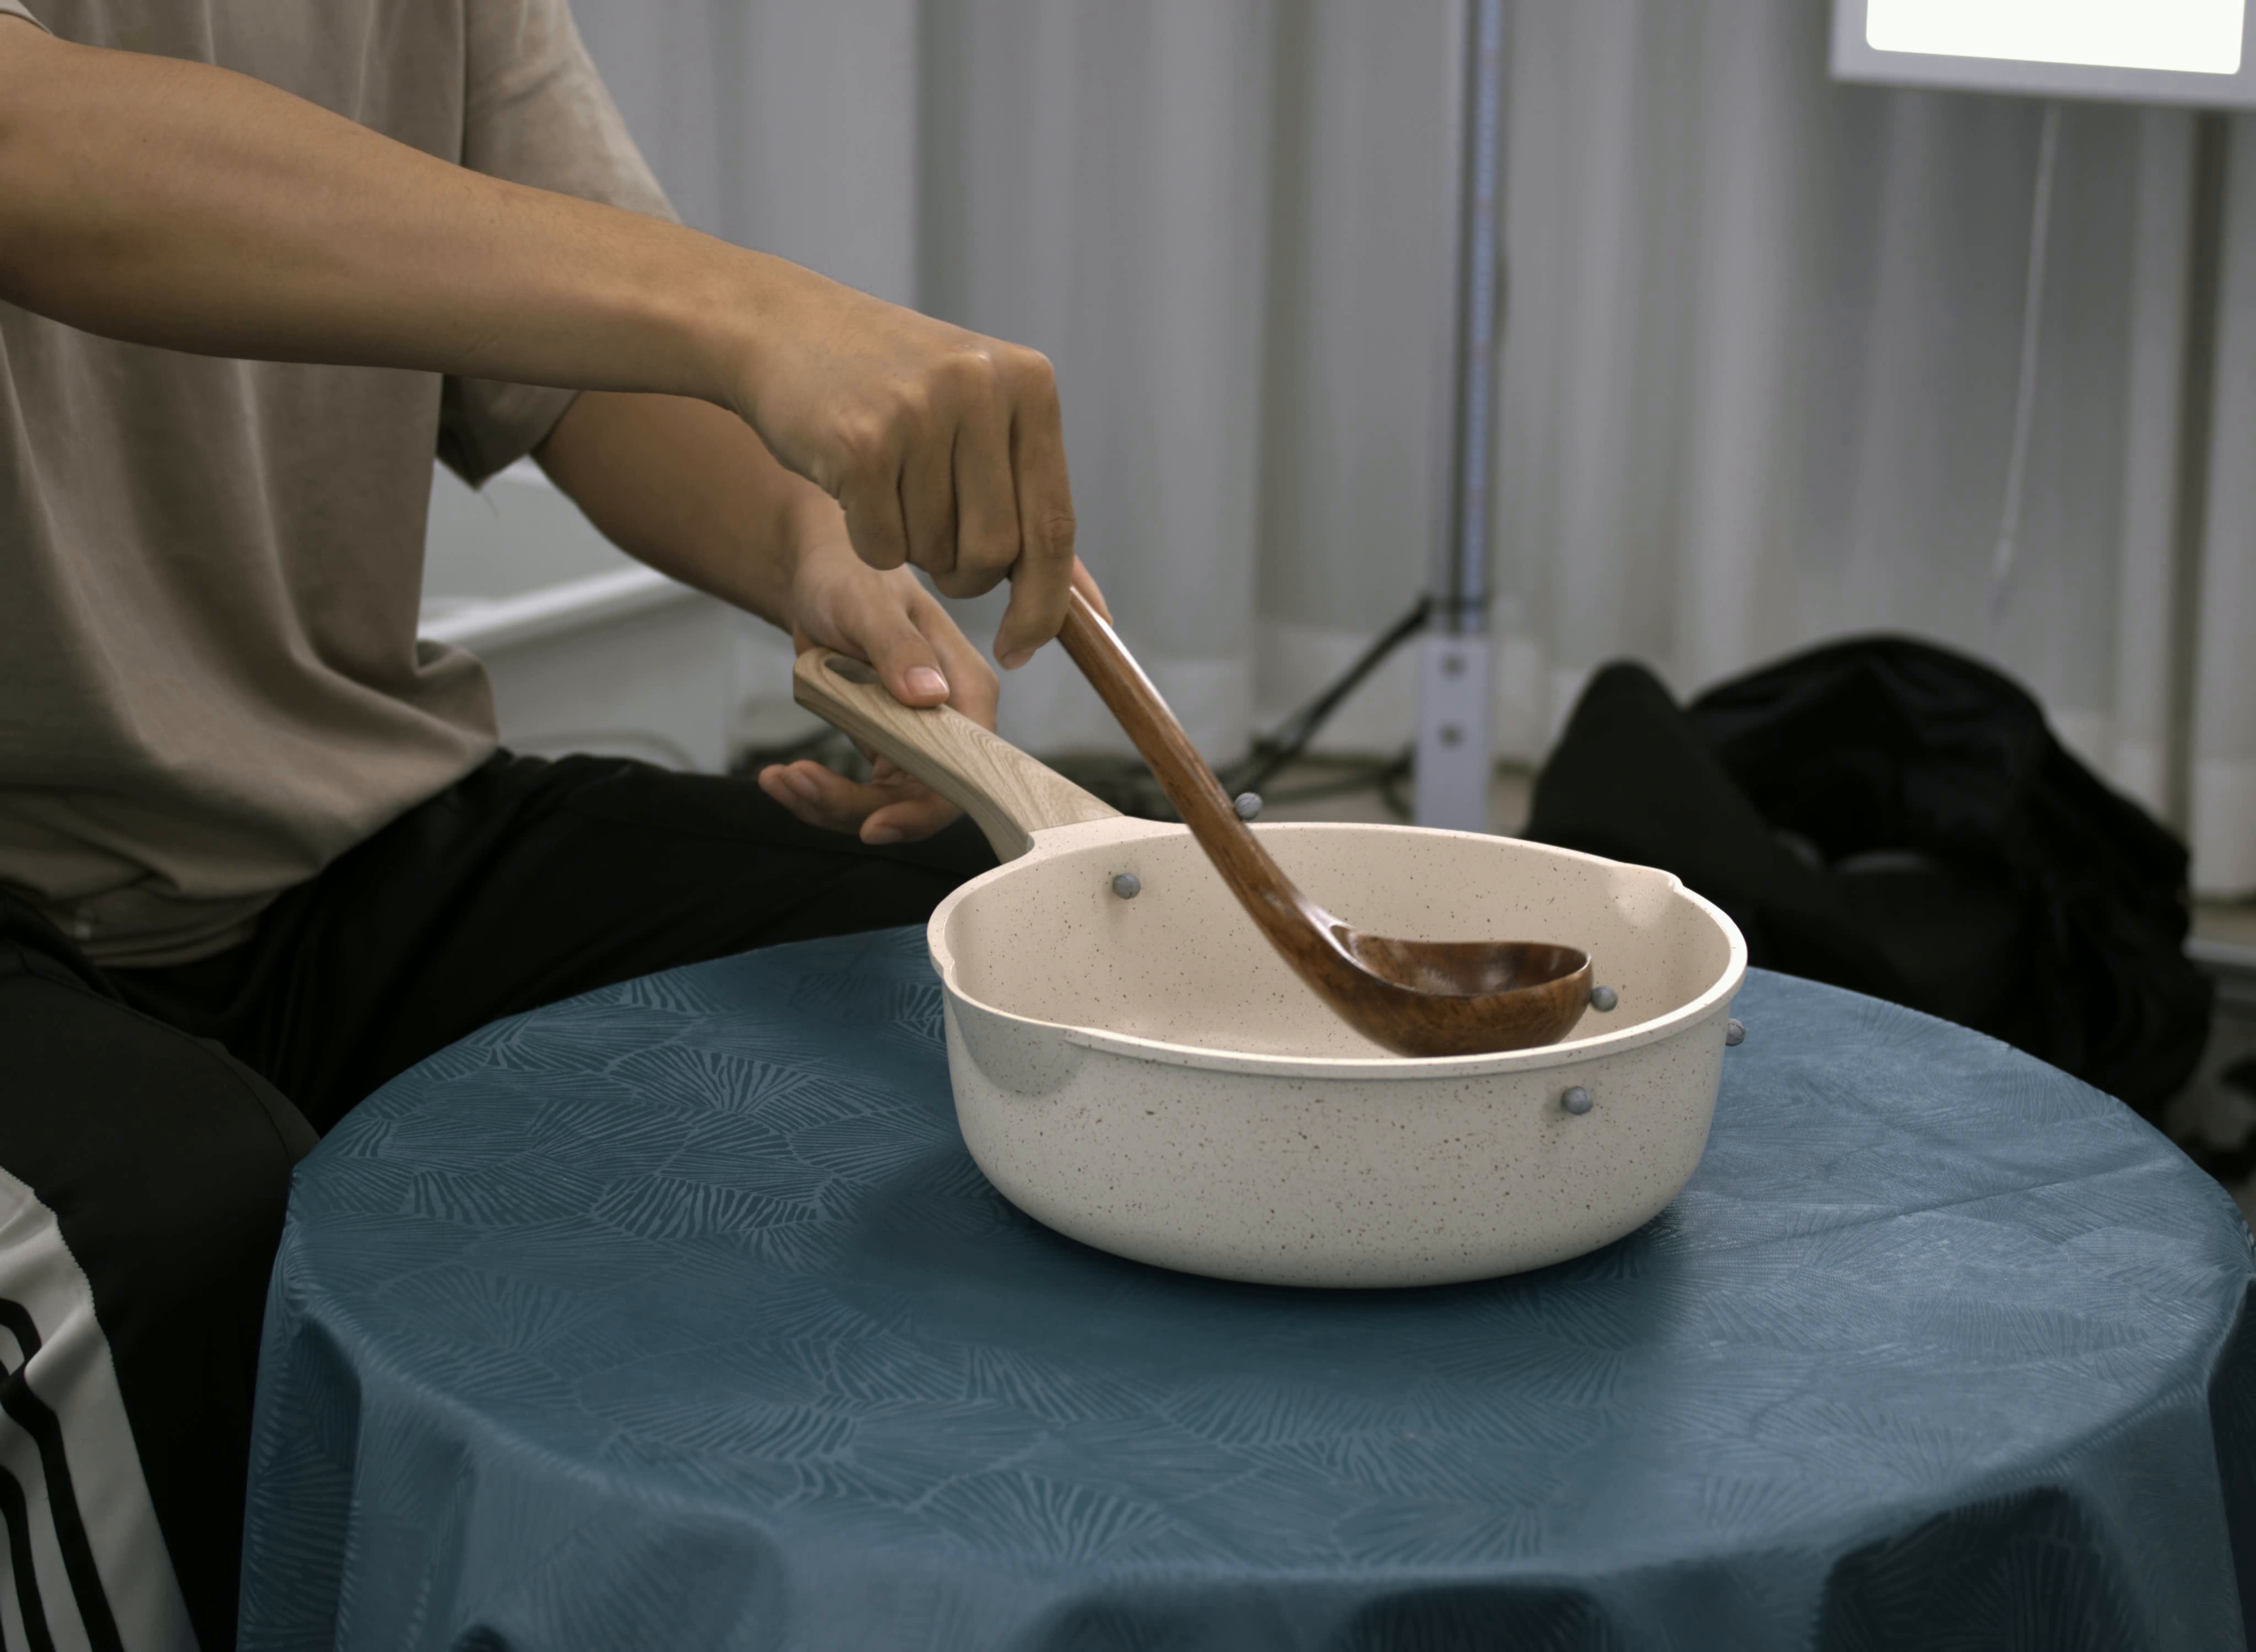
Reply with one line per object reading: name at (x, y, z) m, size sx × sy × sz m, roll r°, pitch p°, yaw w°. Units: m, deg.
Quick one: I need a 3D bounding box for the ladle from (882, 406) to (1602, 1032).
ladle at (0.038, -0.036, 1.589) m, size 0.076 × 0.275 × 0.081 m, roll -37°, pitch 6°, yaw 5°

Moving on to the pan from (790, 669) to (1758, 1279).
pan at (0.016, 0.041, 1.694) m, size 0.264 × 0.103 × 0.429 m, roll -12°, pitch 20°, yaw -33°
